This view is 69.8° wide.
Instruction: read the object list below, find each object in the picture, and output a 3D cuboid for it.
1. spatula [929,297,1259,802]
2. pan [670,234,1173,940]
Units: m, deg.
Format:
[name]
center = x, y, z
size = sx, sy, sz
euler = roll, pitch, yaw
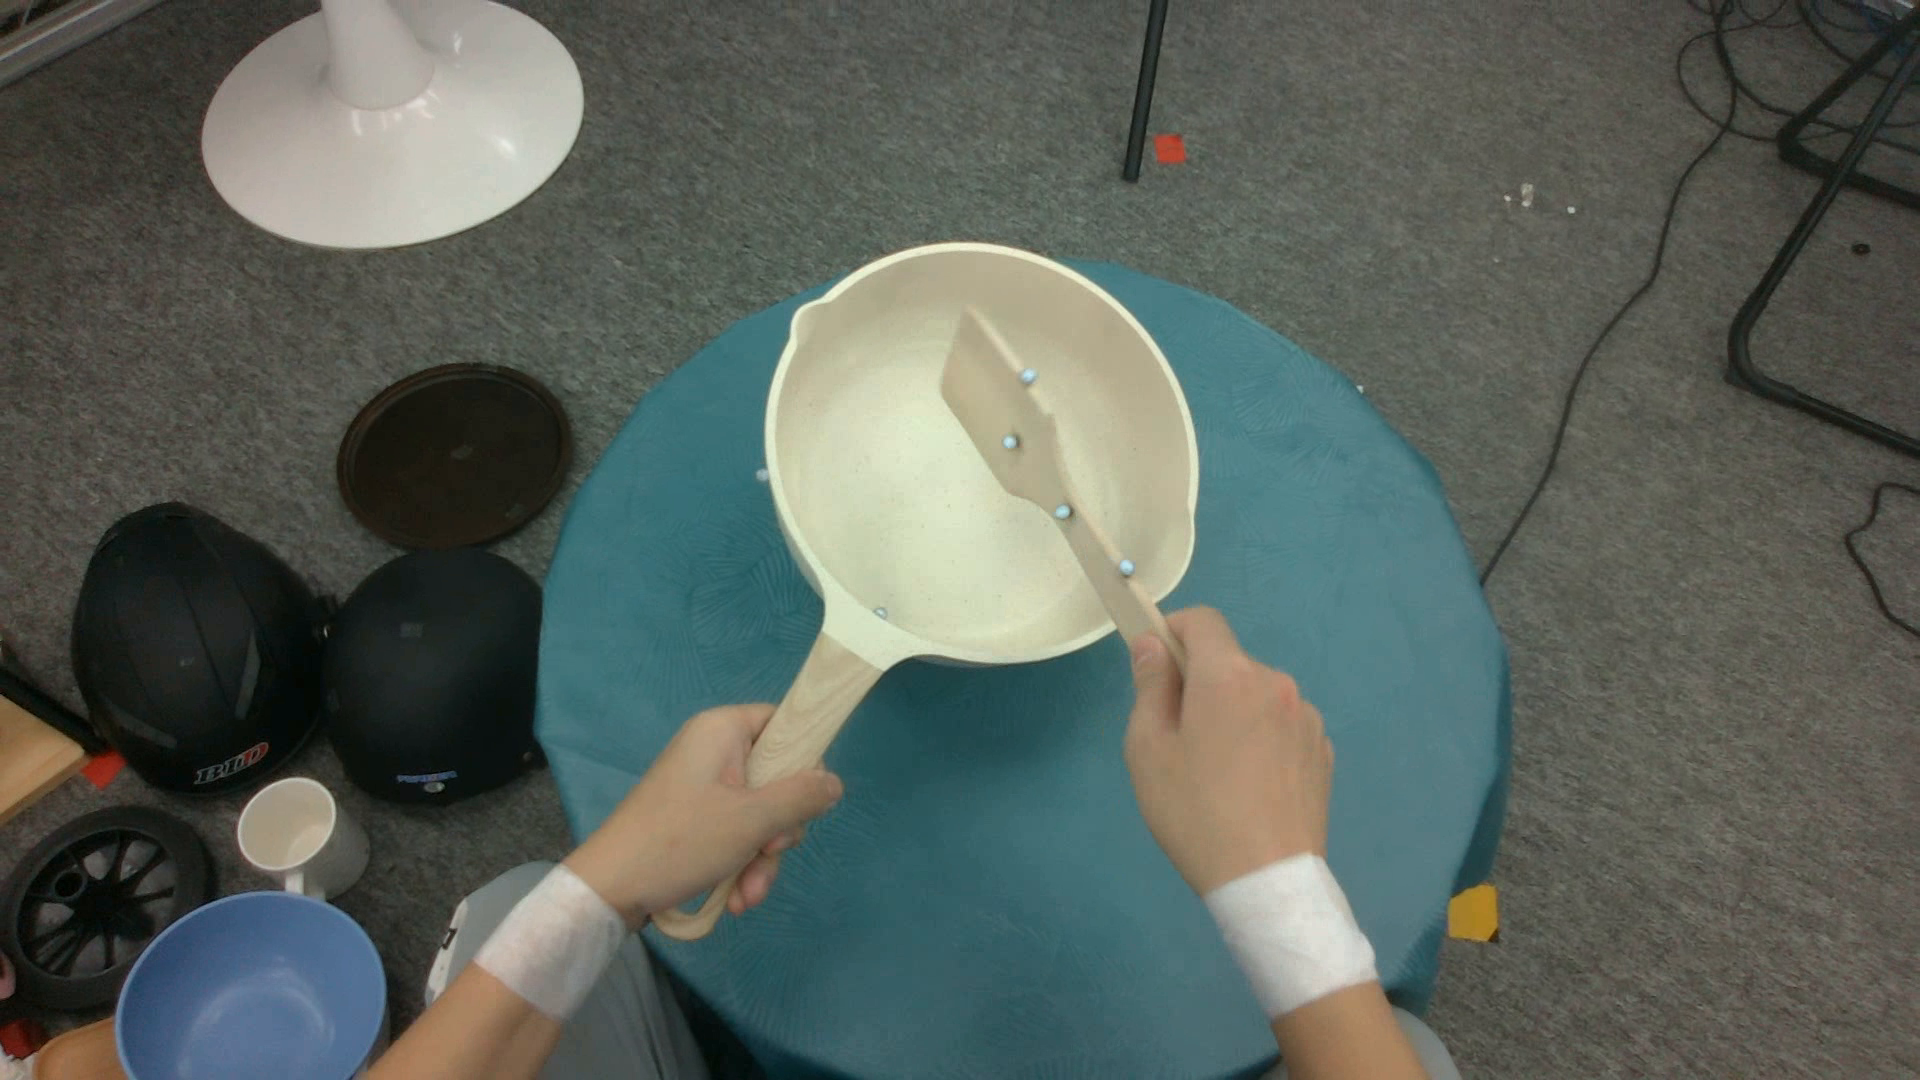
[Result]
[spatula]
center = 0.065, 0.002, 0.689
size = 0.011, 0.072, 0.293
euler = -11, 58, -36
[pan]
center = -0.045, 0.023, 0.777
size = 0.263, 0.101, 0.436
euler = 31, 68, -4
